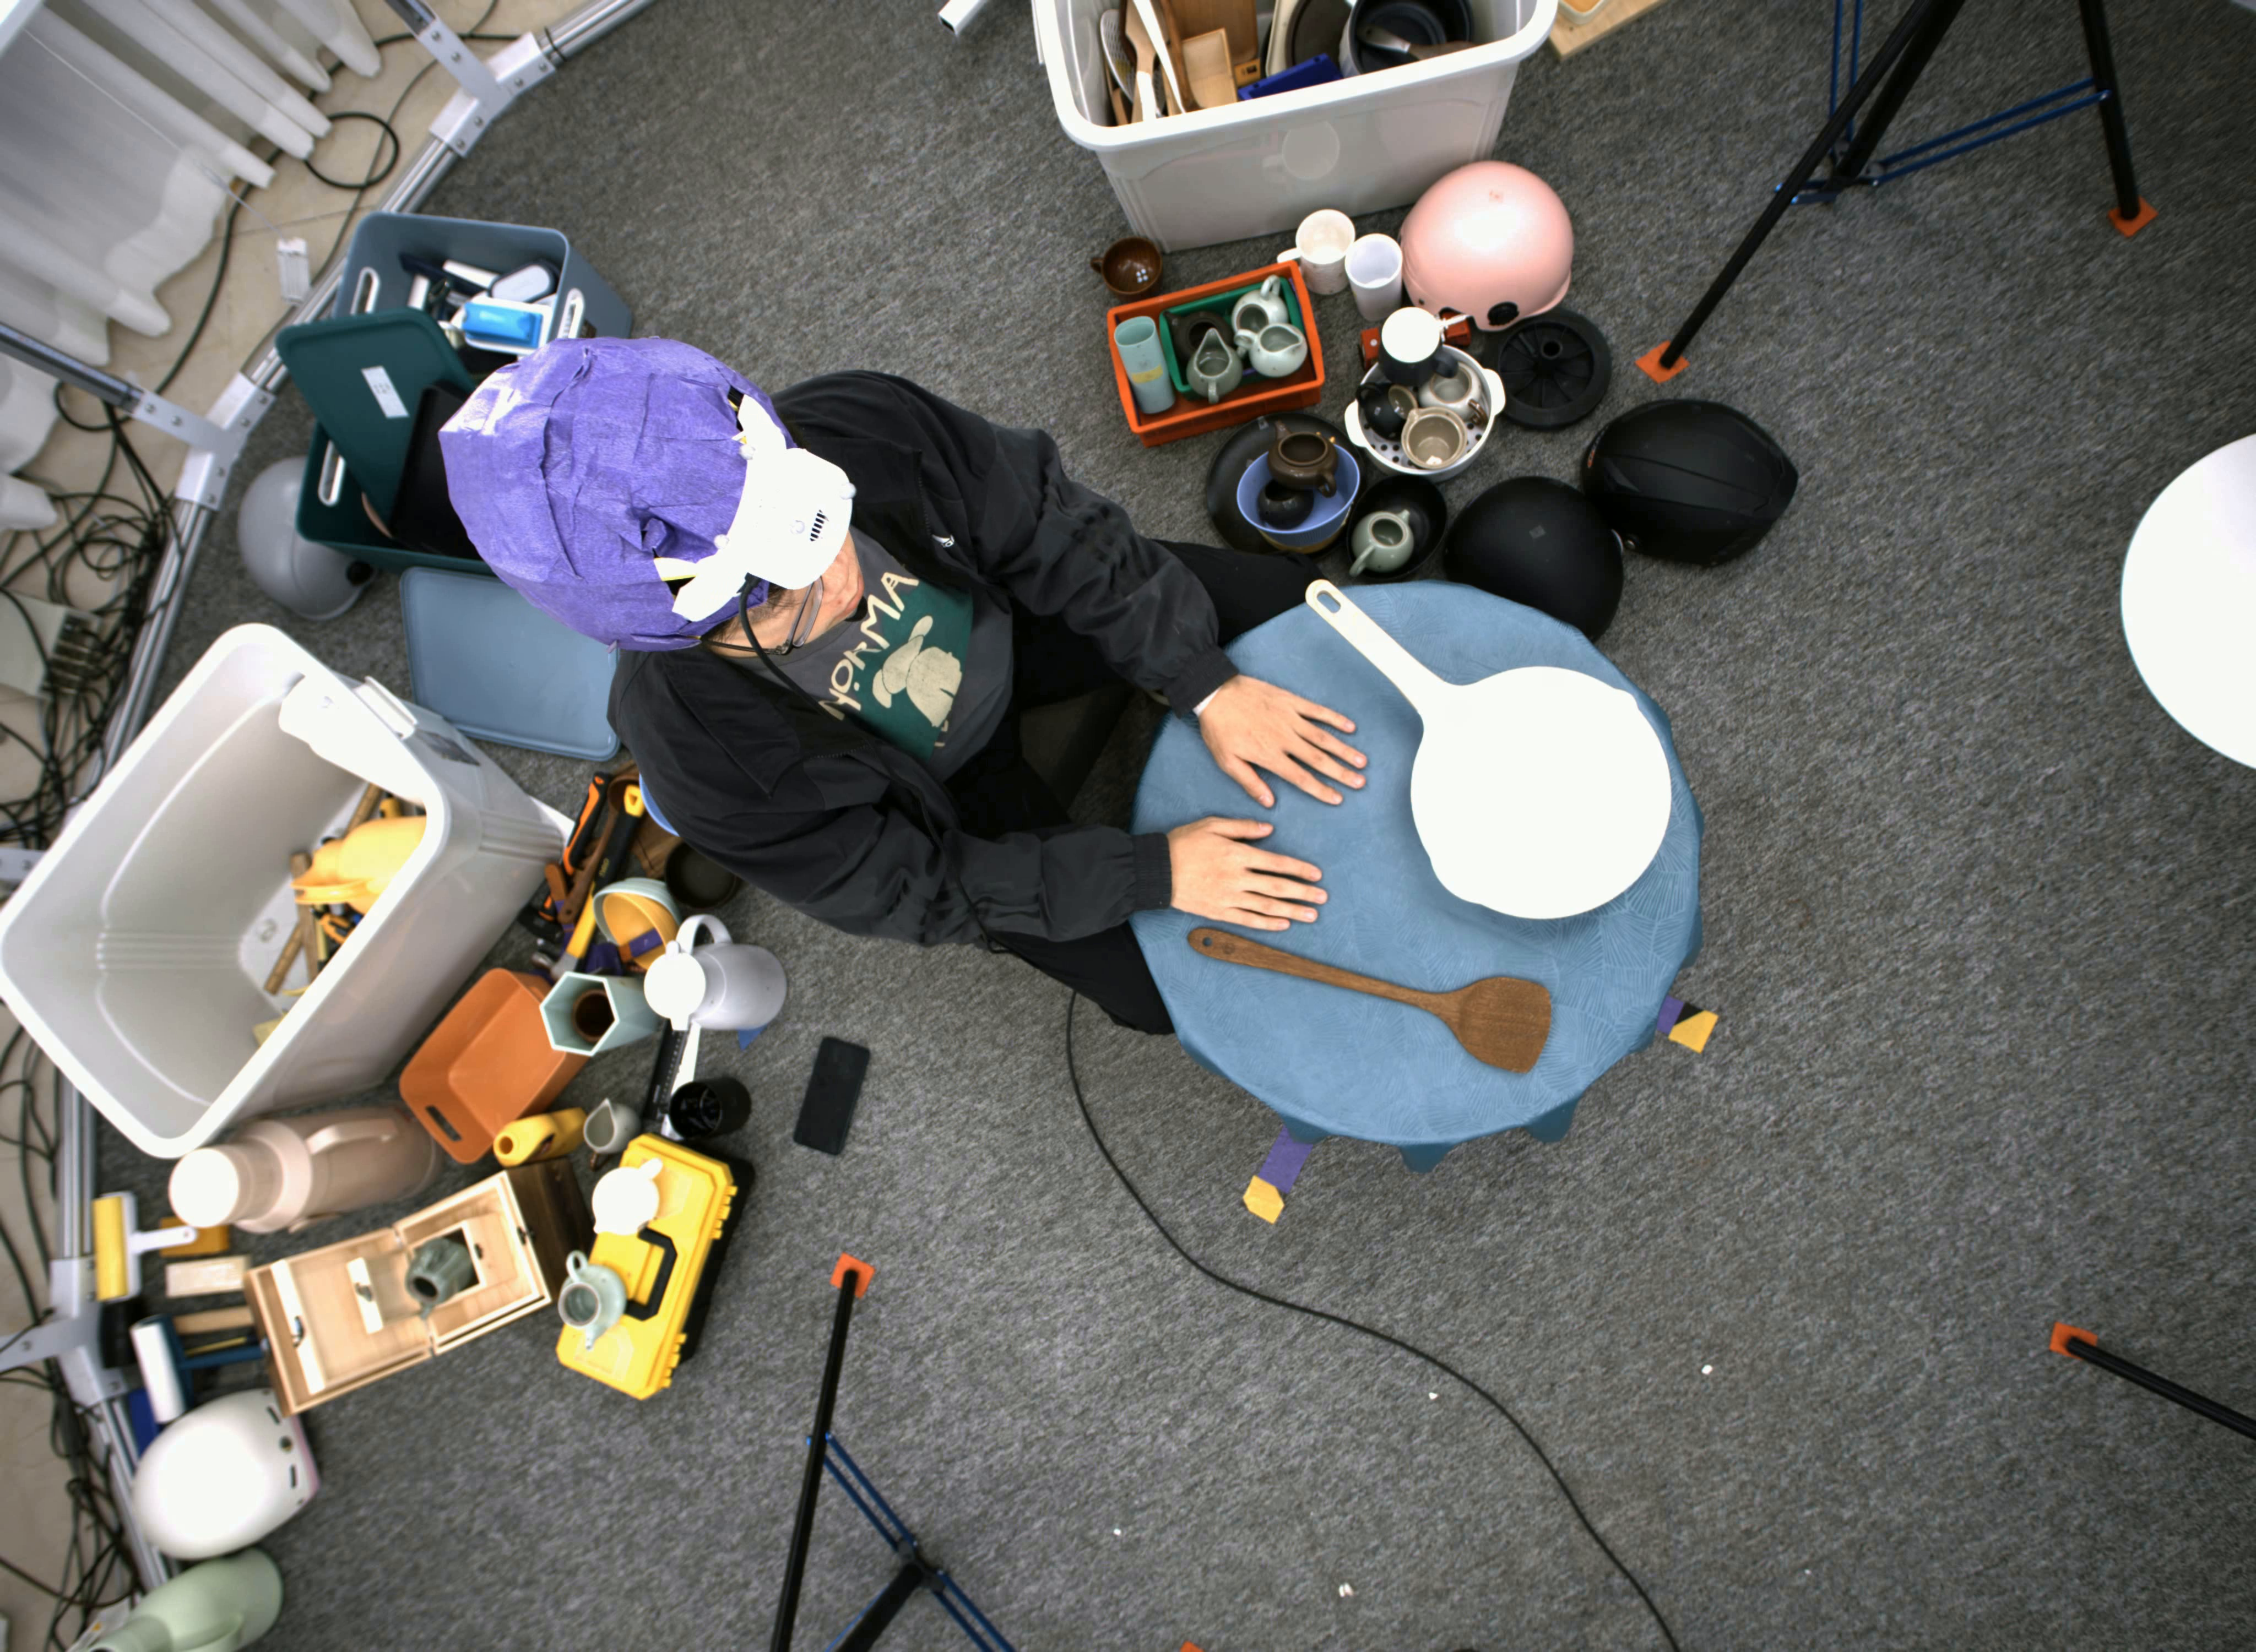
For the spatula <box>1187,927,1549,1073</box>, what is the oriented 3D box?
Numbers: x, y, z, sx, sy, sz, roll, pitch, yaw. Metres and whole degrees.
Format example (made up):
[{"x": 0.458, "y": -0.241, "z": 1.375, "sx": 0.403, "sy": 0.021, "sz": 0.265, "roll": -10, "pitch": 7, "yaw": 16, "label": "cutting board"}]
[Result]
[{"x": 0.246, "y": 0.164, "z": 1.451, "sx": 0.386, "sy": 0.016, "sz": 0.096, "roll": 14, "pitch": 89, "yaw": 11, "label": "spatula"}]

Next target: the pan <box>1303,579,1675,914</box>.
[{"x": 0.349, "y": -0.100, "z": 1.400, "sx": 0.433, "sy": 0.102, "sz": 0.265, "roll": 43, "pitch": 96, "yaw": 9, "label": "pan"}]
